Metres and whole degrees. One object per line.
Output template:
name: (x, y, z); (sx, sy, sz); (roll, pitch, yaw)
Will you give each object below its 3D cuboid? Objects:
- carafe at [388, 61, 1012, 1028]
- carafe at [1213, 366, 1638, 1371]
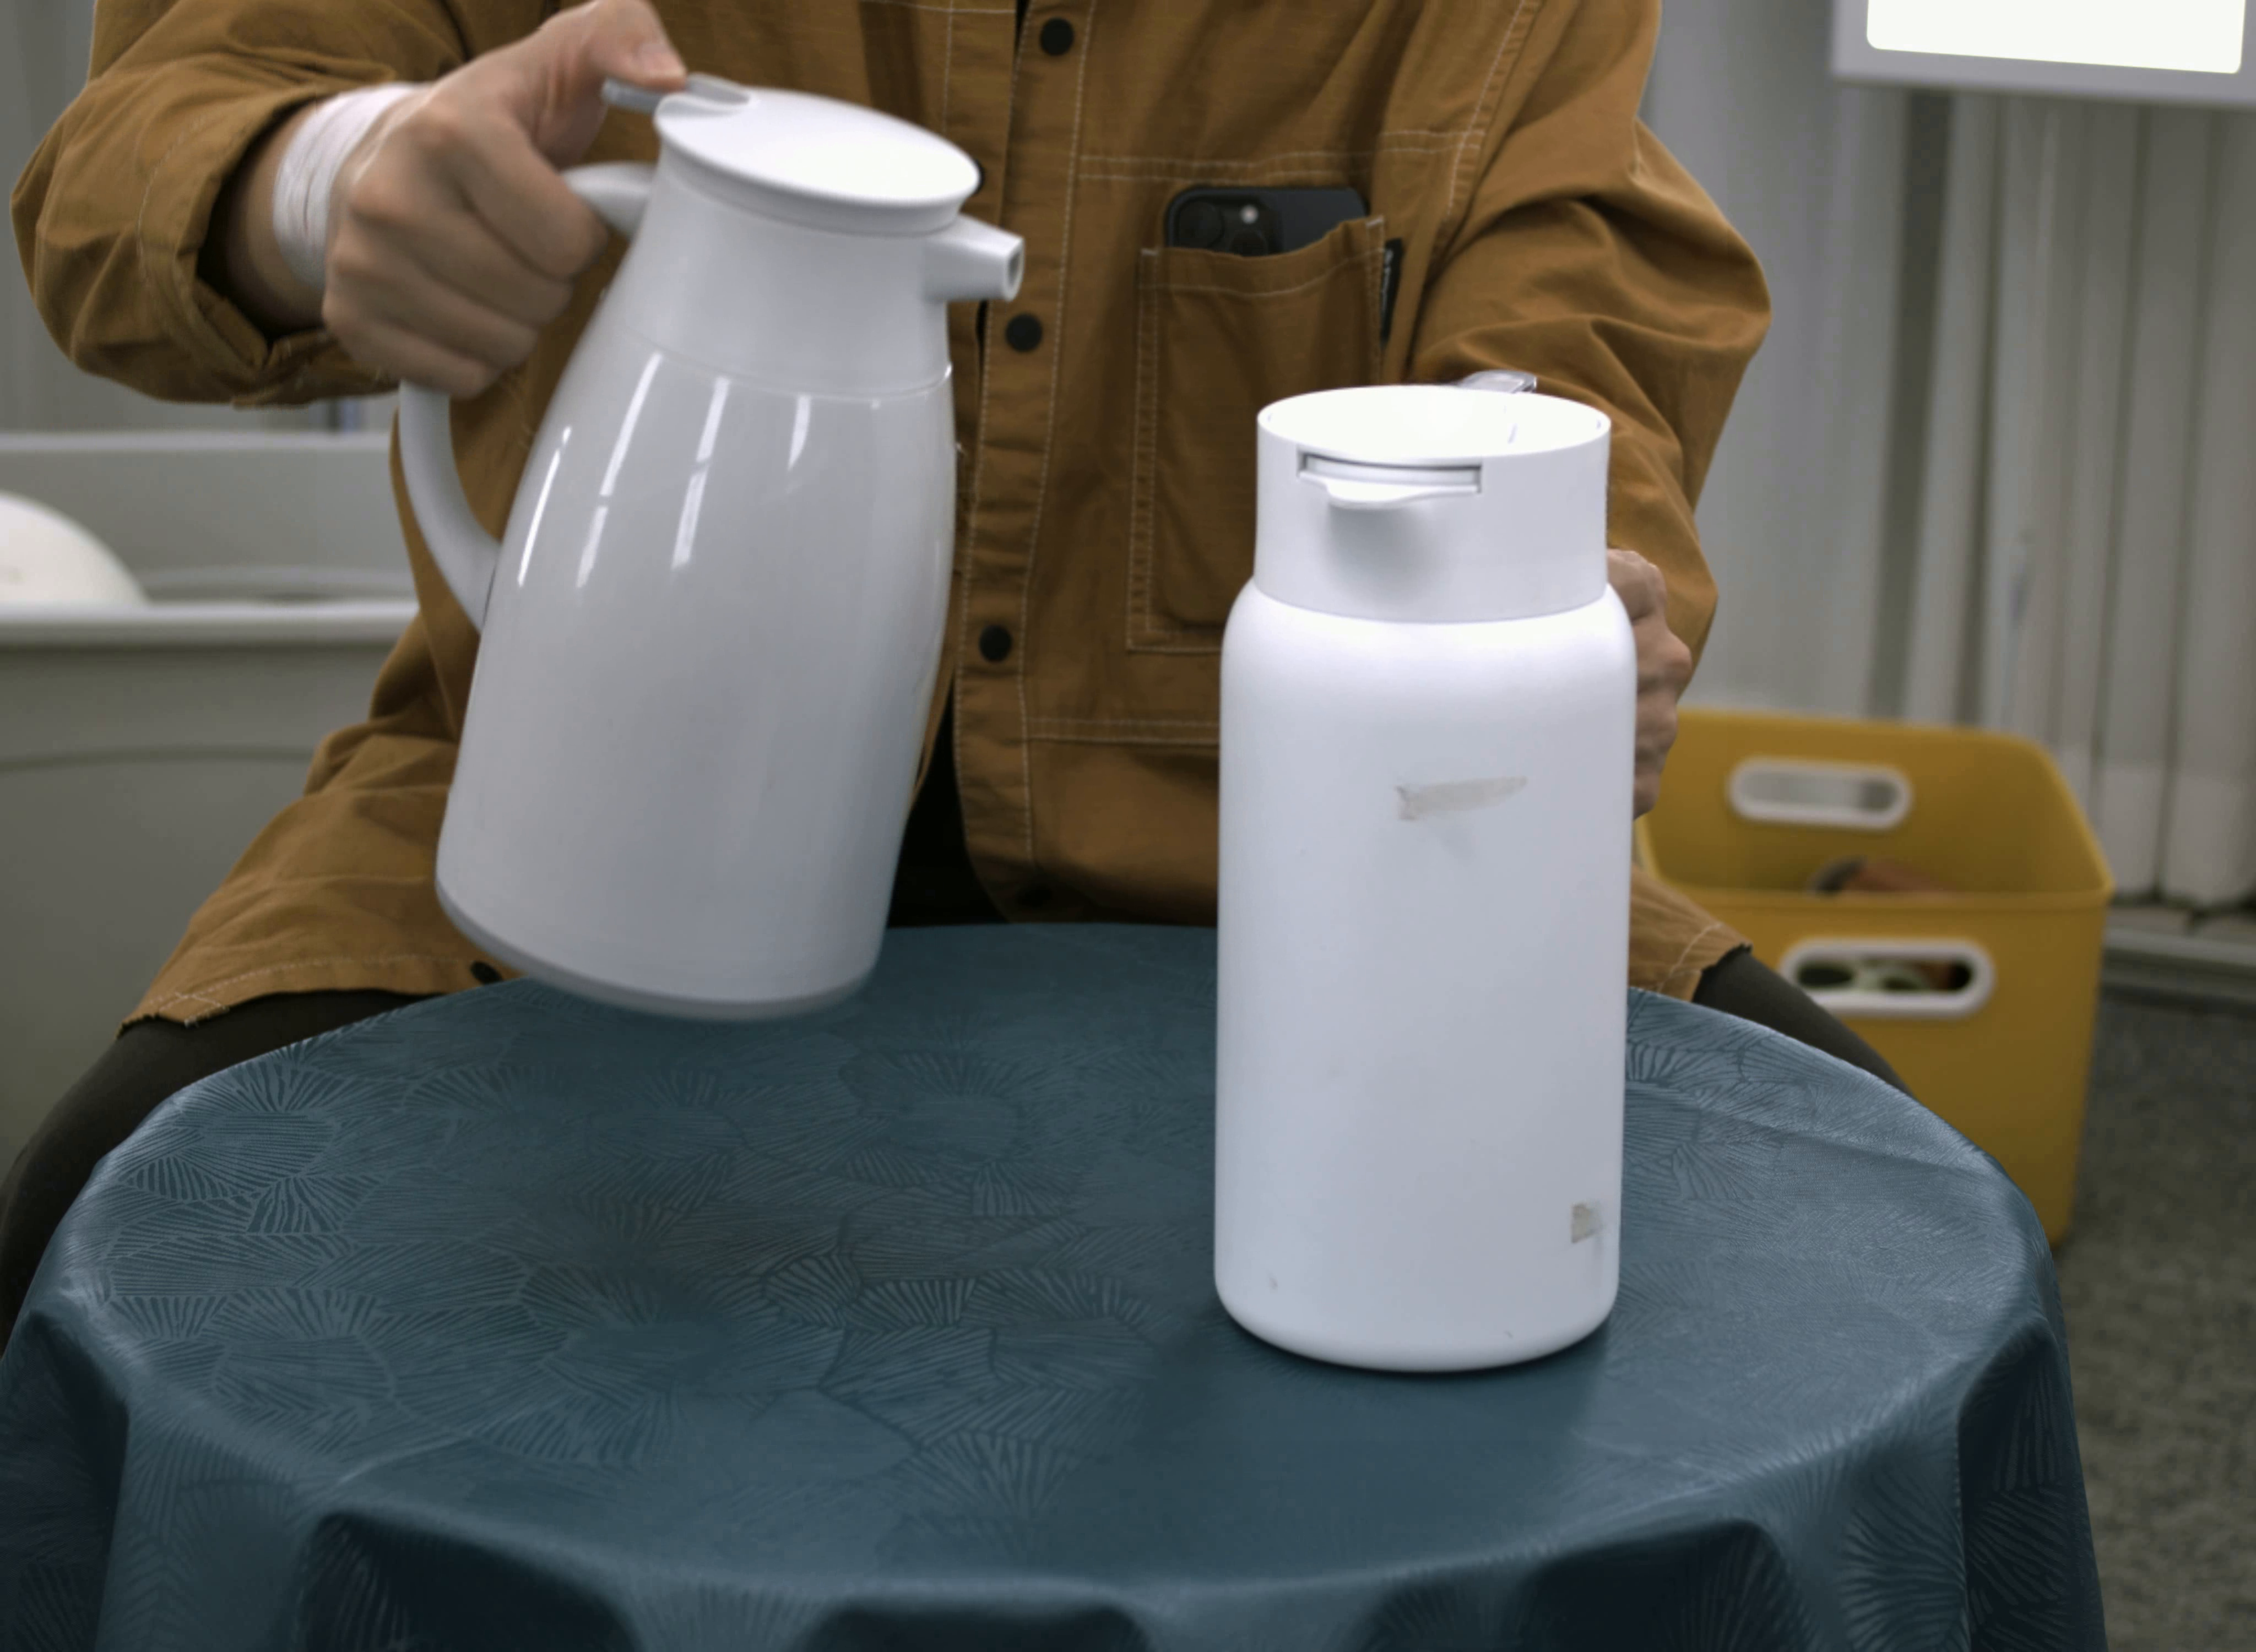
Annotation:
carafe: (-0.131, -0.087, 1.483); (0.167, 0.250, 0.132); (15, 22, 7)
carafe: (0.088, 0.007, 1.502); (0.123, 0.271, 0.173); (4, 16, 19)
